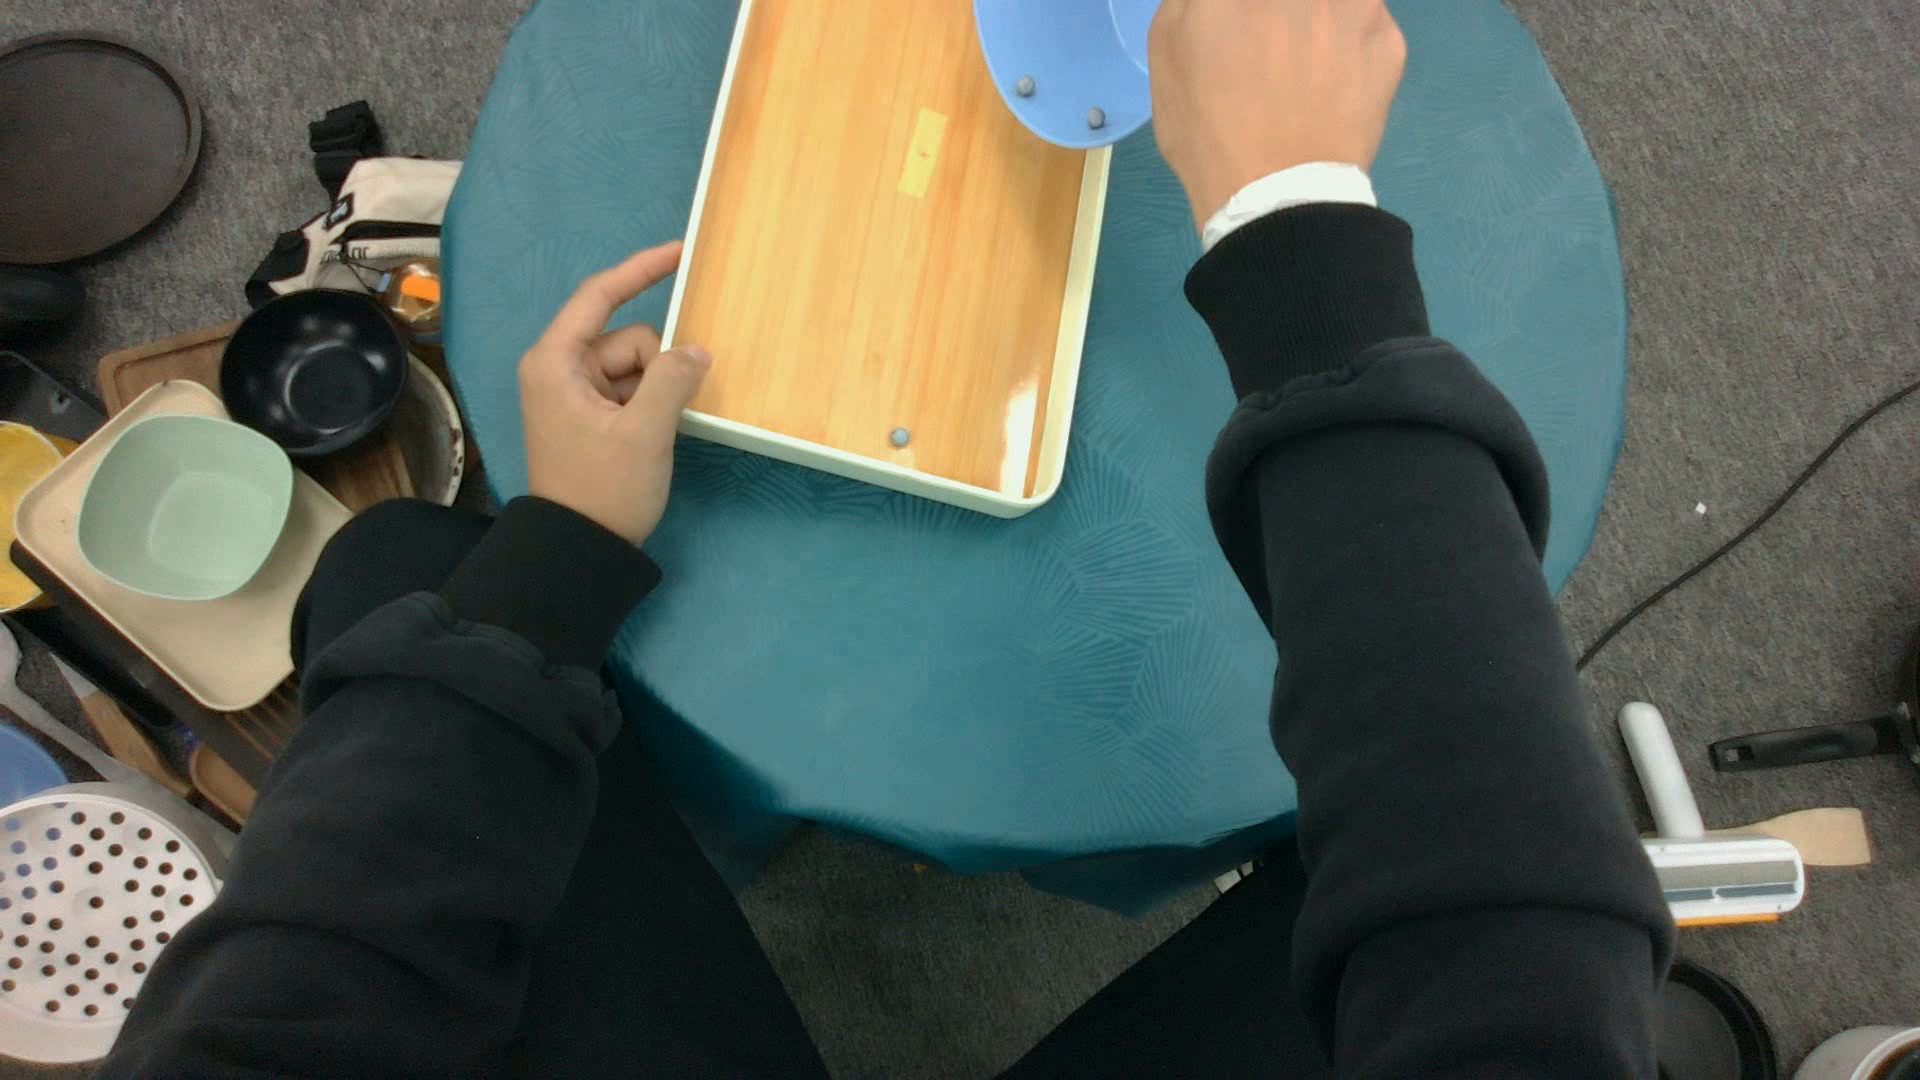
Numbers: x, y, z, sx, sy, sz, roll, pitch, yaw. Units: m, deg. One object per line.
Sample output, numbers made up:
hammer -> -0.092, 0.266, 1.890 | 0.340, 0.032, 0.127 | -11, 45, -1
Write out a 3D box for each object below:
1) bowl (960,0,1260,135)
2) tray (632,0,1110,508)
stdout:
bowl -> 0.073, -0.263, 0.586 | 0.070, 0.175, 0.176 | -9, 73, -34
tray -> -0.034, -0.176, 0.664 | 0.192, 0.027, 0.301 | 15, 71, -16
